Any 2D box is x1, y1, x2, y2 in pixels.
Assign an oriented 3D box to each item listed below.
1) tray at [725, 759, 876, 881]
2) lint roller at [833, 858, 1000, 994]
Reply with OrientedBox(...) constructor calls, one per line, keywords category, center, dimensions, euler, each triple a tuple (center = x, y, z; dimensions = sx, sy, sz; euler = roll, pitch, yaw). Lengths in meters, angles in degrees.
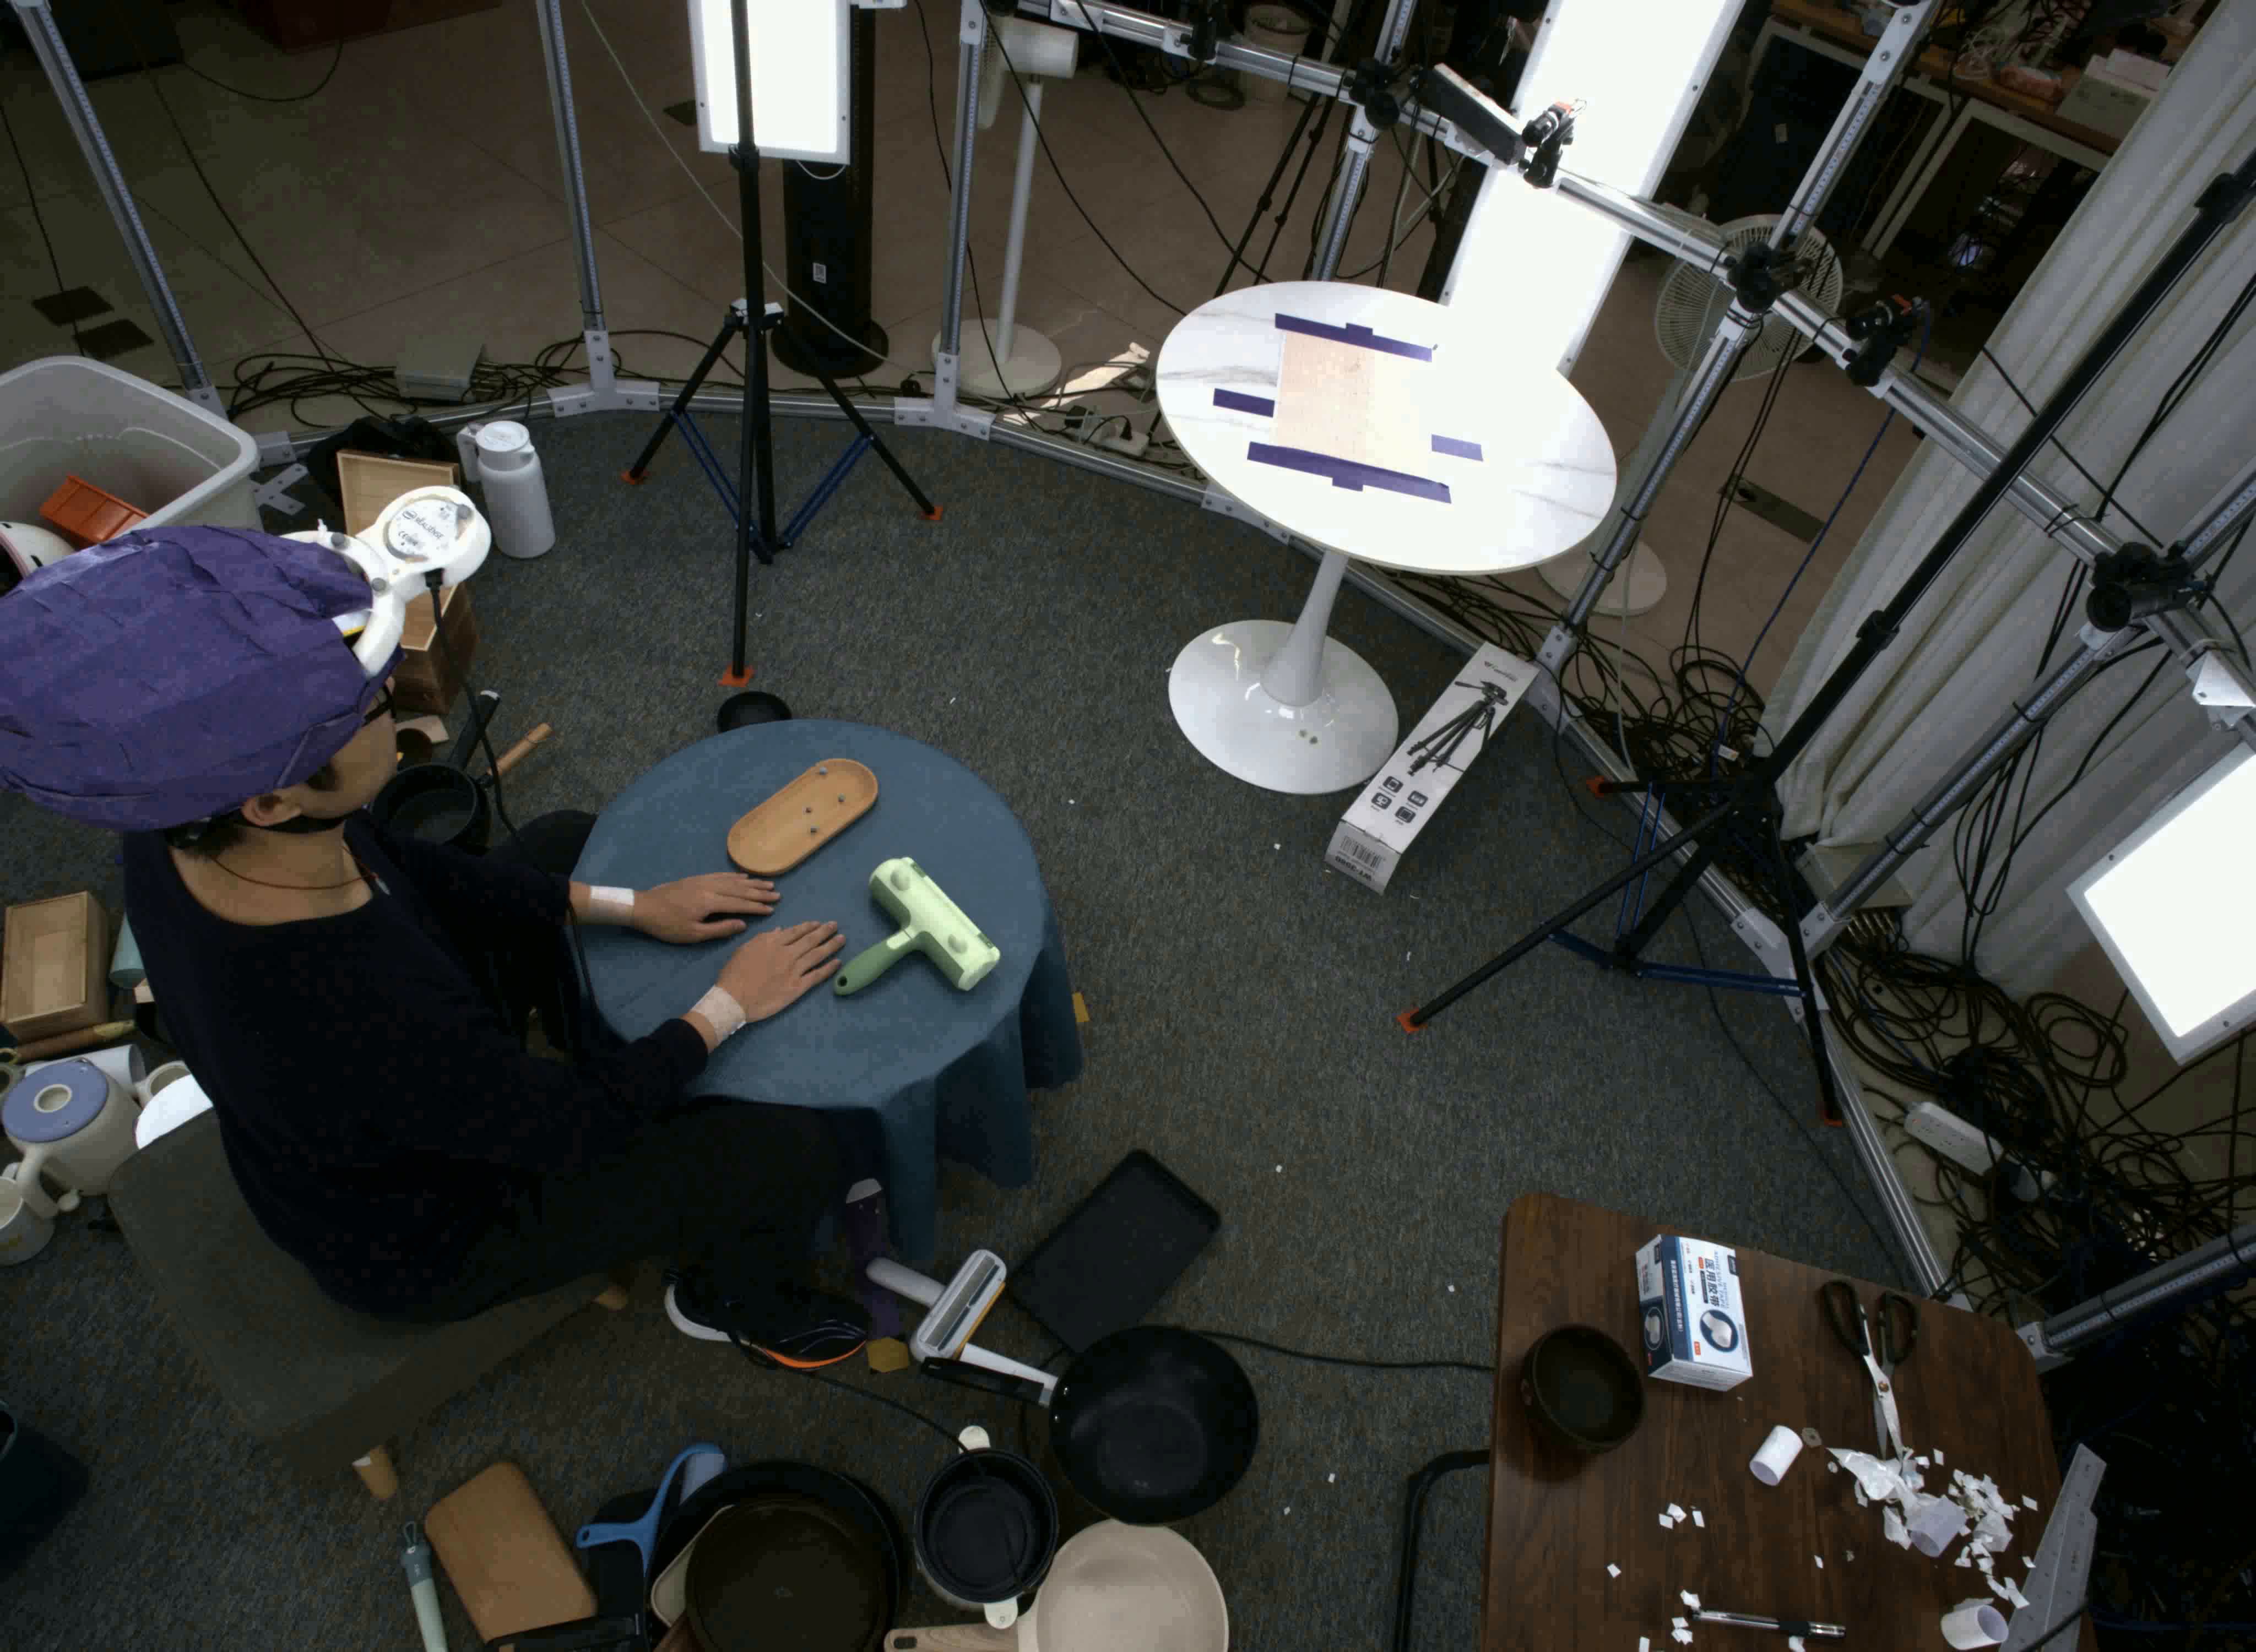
OrientedBox(category="tray", center=(-0.430, -0.011, 1.710), dimensions=(0.099, 0.021, 0.231), euler=(36, 55, 14))
OrientedBox(category="lint roller", center=(-0.284, 0.136, 1.592), dimensions=(0.194, 0.084, 0.184), euler=(43, 49, 19))
